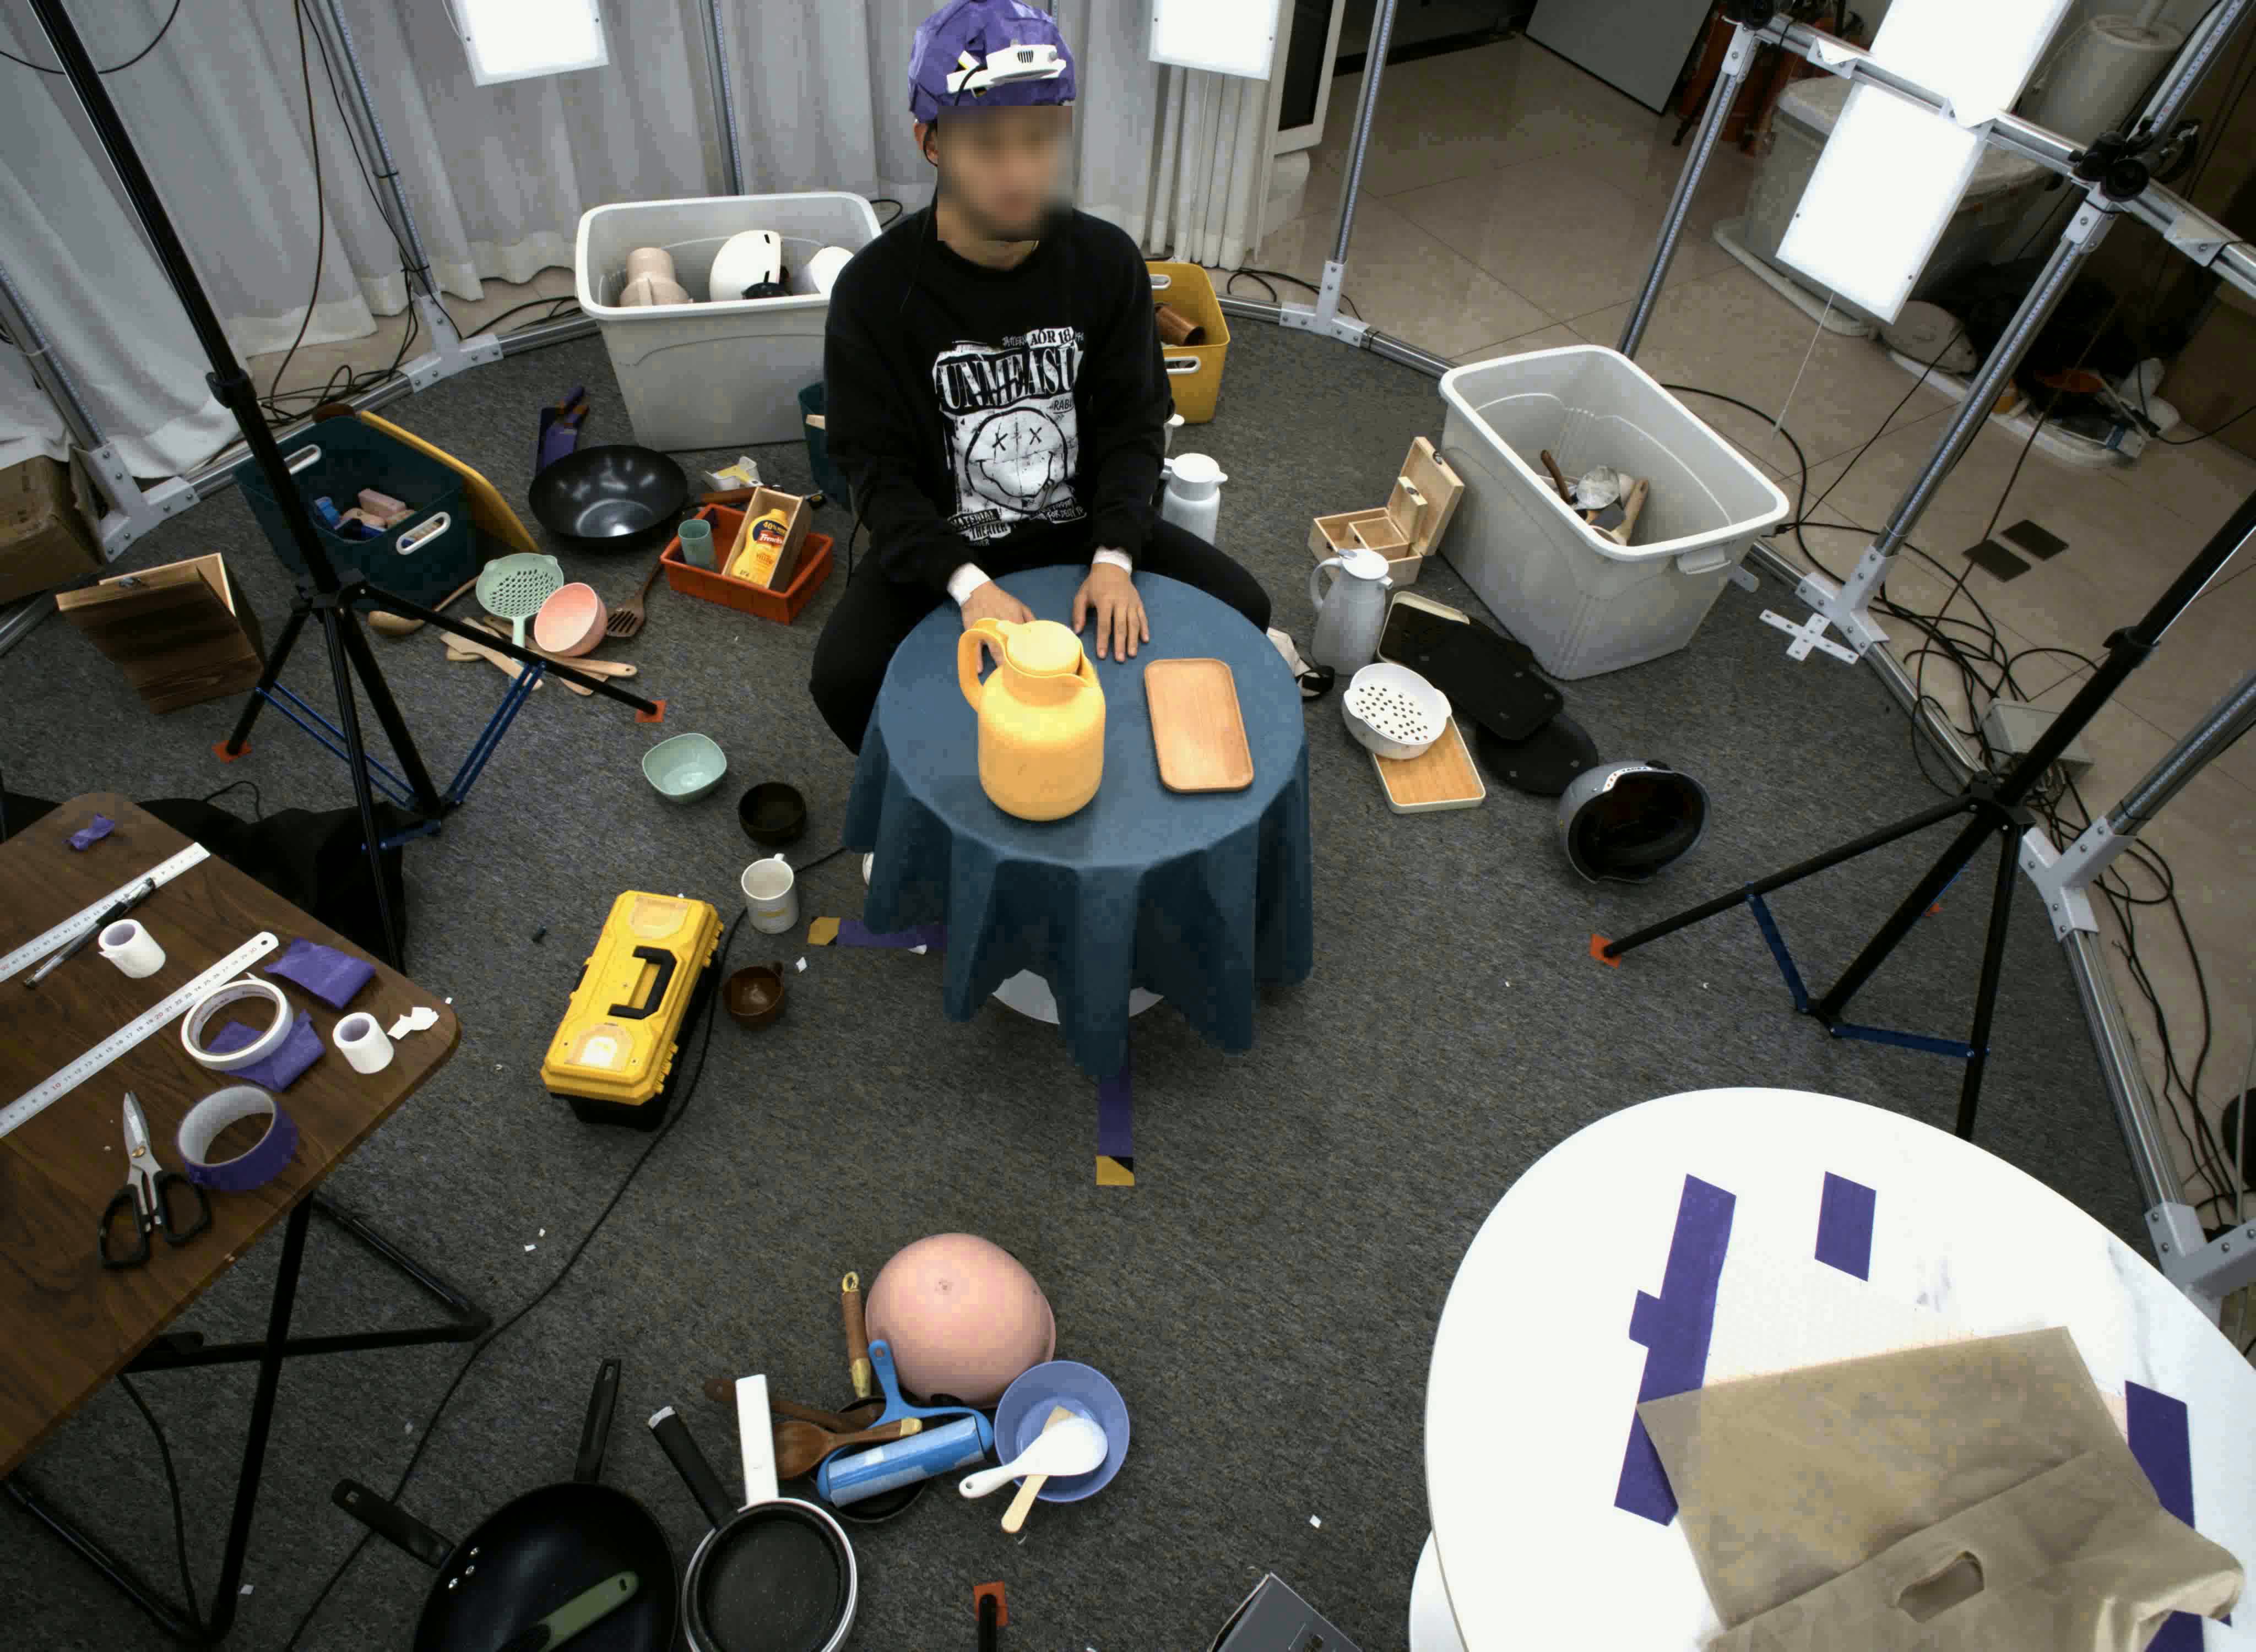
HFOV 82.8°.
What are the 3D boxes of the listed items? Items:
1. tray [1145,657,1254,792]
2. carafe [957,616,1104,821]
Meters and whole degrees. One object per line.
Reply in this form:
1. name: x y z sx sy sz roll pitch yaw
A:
1. tray: 0.097 -0.144 1.789 0.130 0.022 0.257 0 48 -7
2. carafe: -0.127 -0.147 1.620 0.204 0.254 0.165 31 52 19
